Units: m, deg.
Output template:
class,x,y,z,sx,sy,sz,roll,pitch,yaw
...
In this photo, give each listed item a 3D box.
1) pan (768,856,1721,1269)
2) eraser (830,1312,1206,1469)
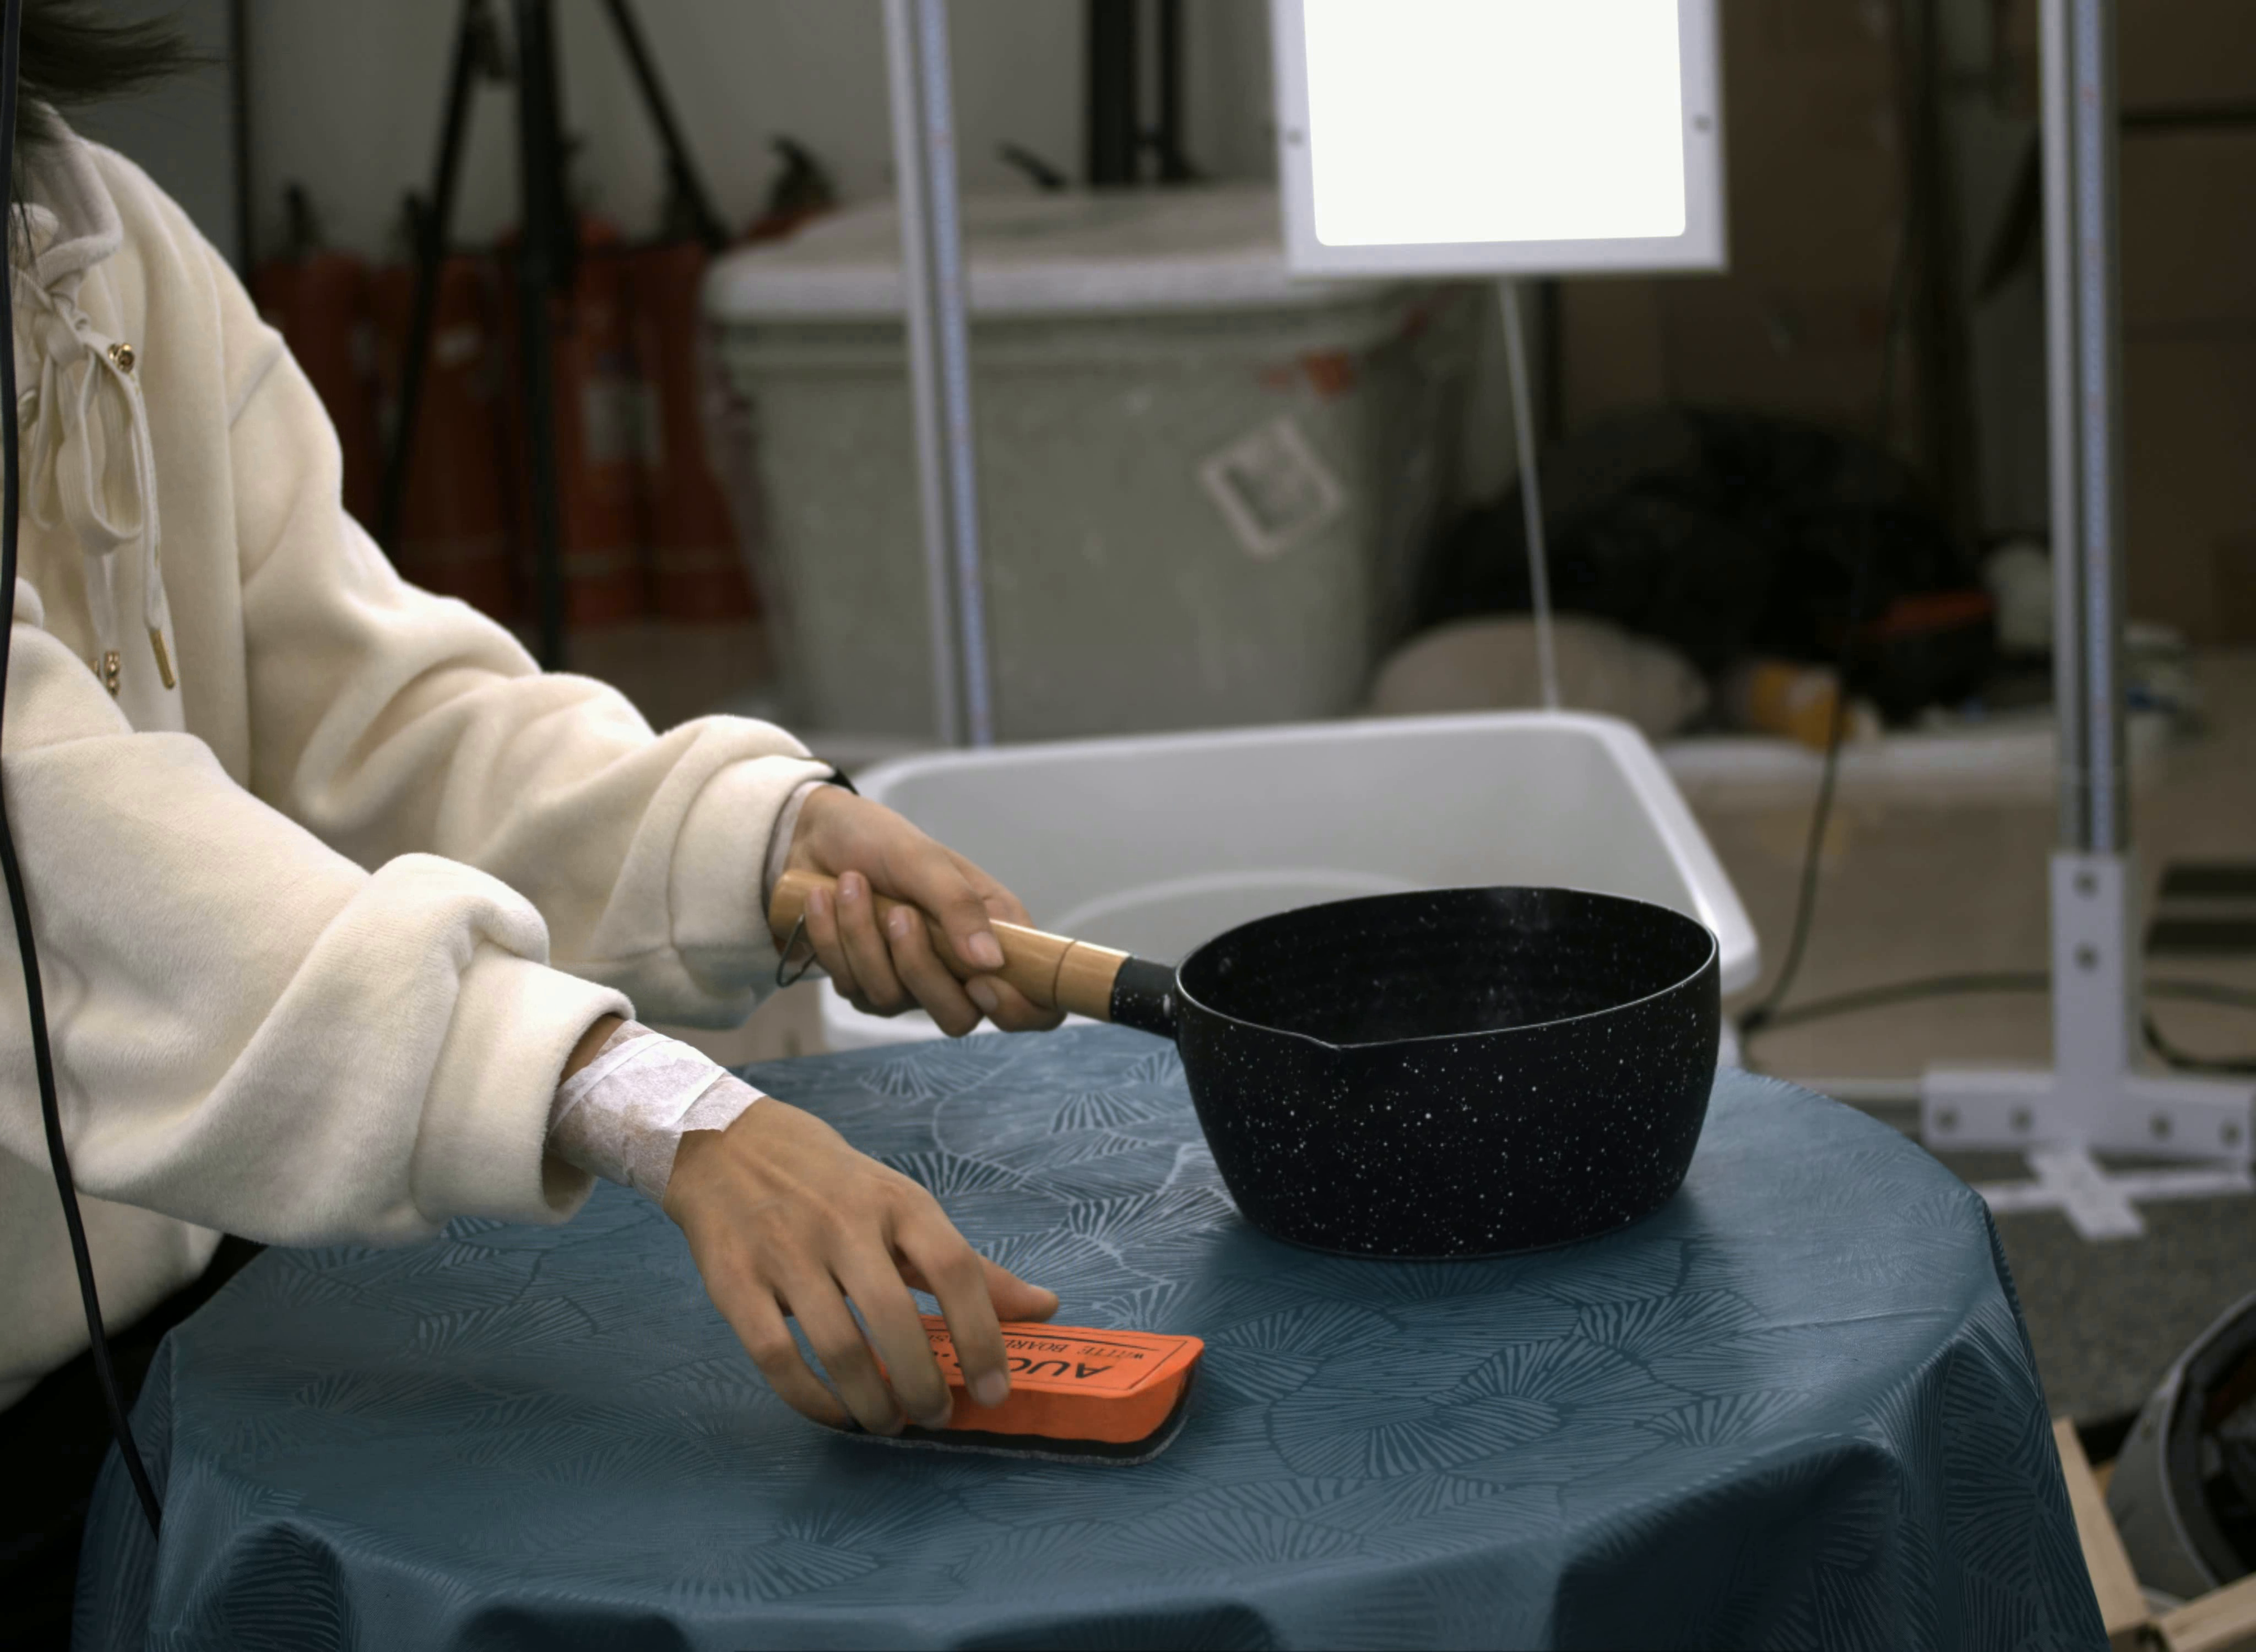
class,x,y,z,sx,sy,sz,roll,pitch,yaw
pan,0.034,0.071,1.883,0.348,0.108,0.203,2,17,22
eraser,-0.033,0.171,1.679,0.110,0.023,0.058,2,17,29
